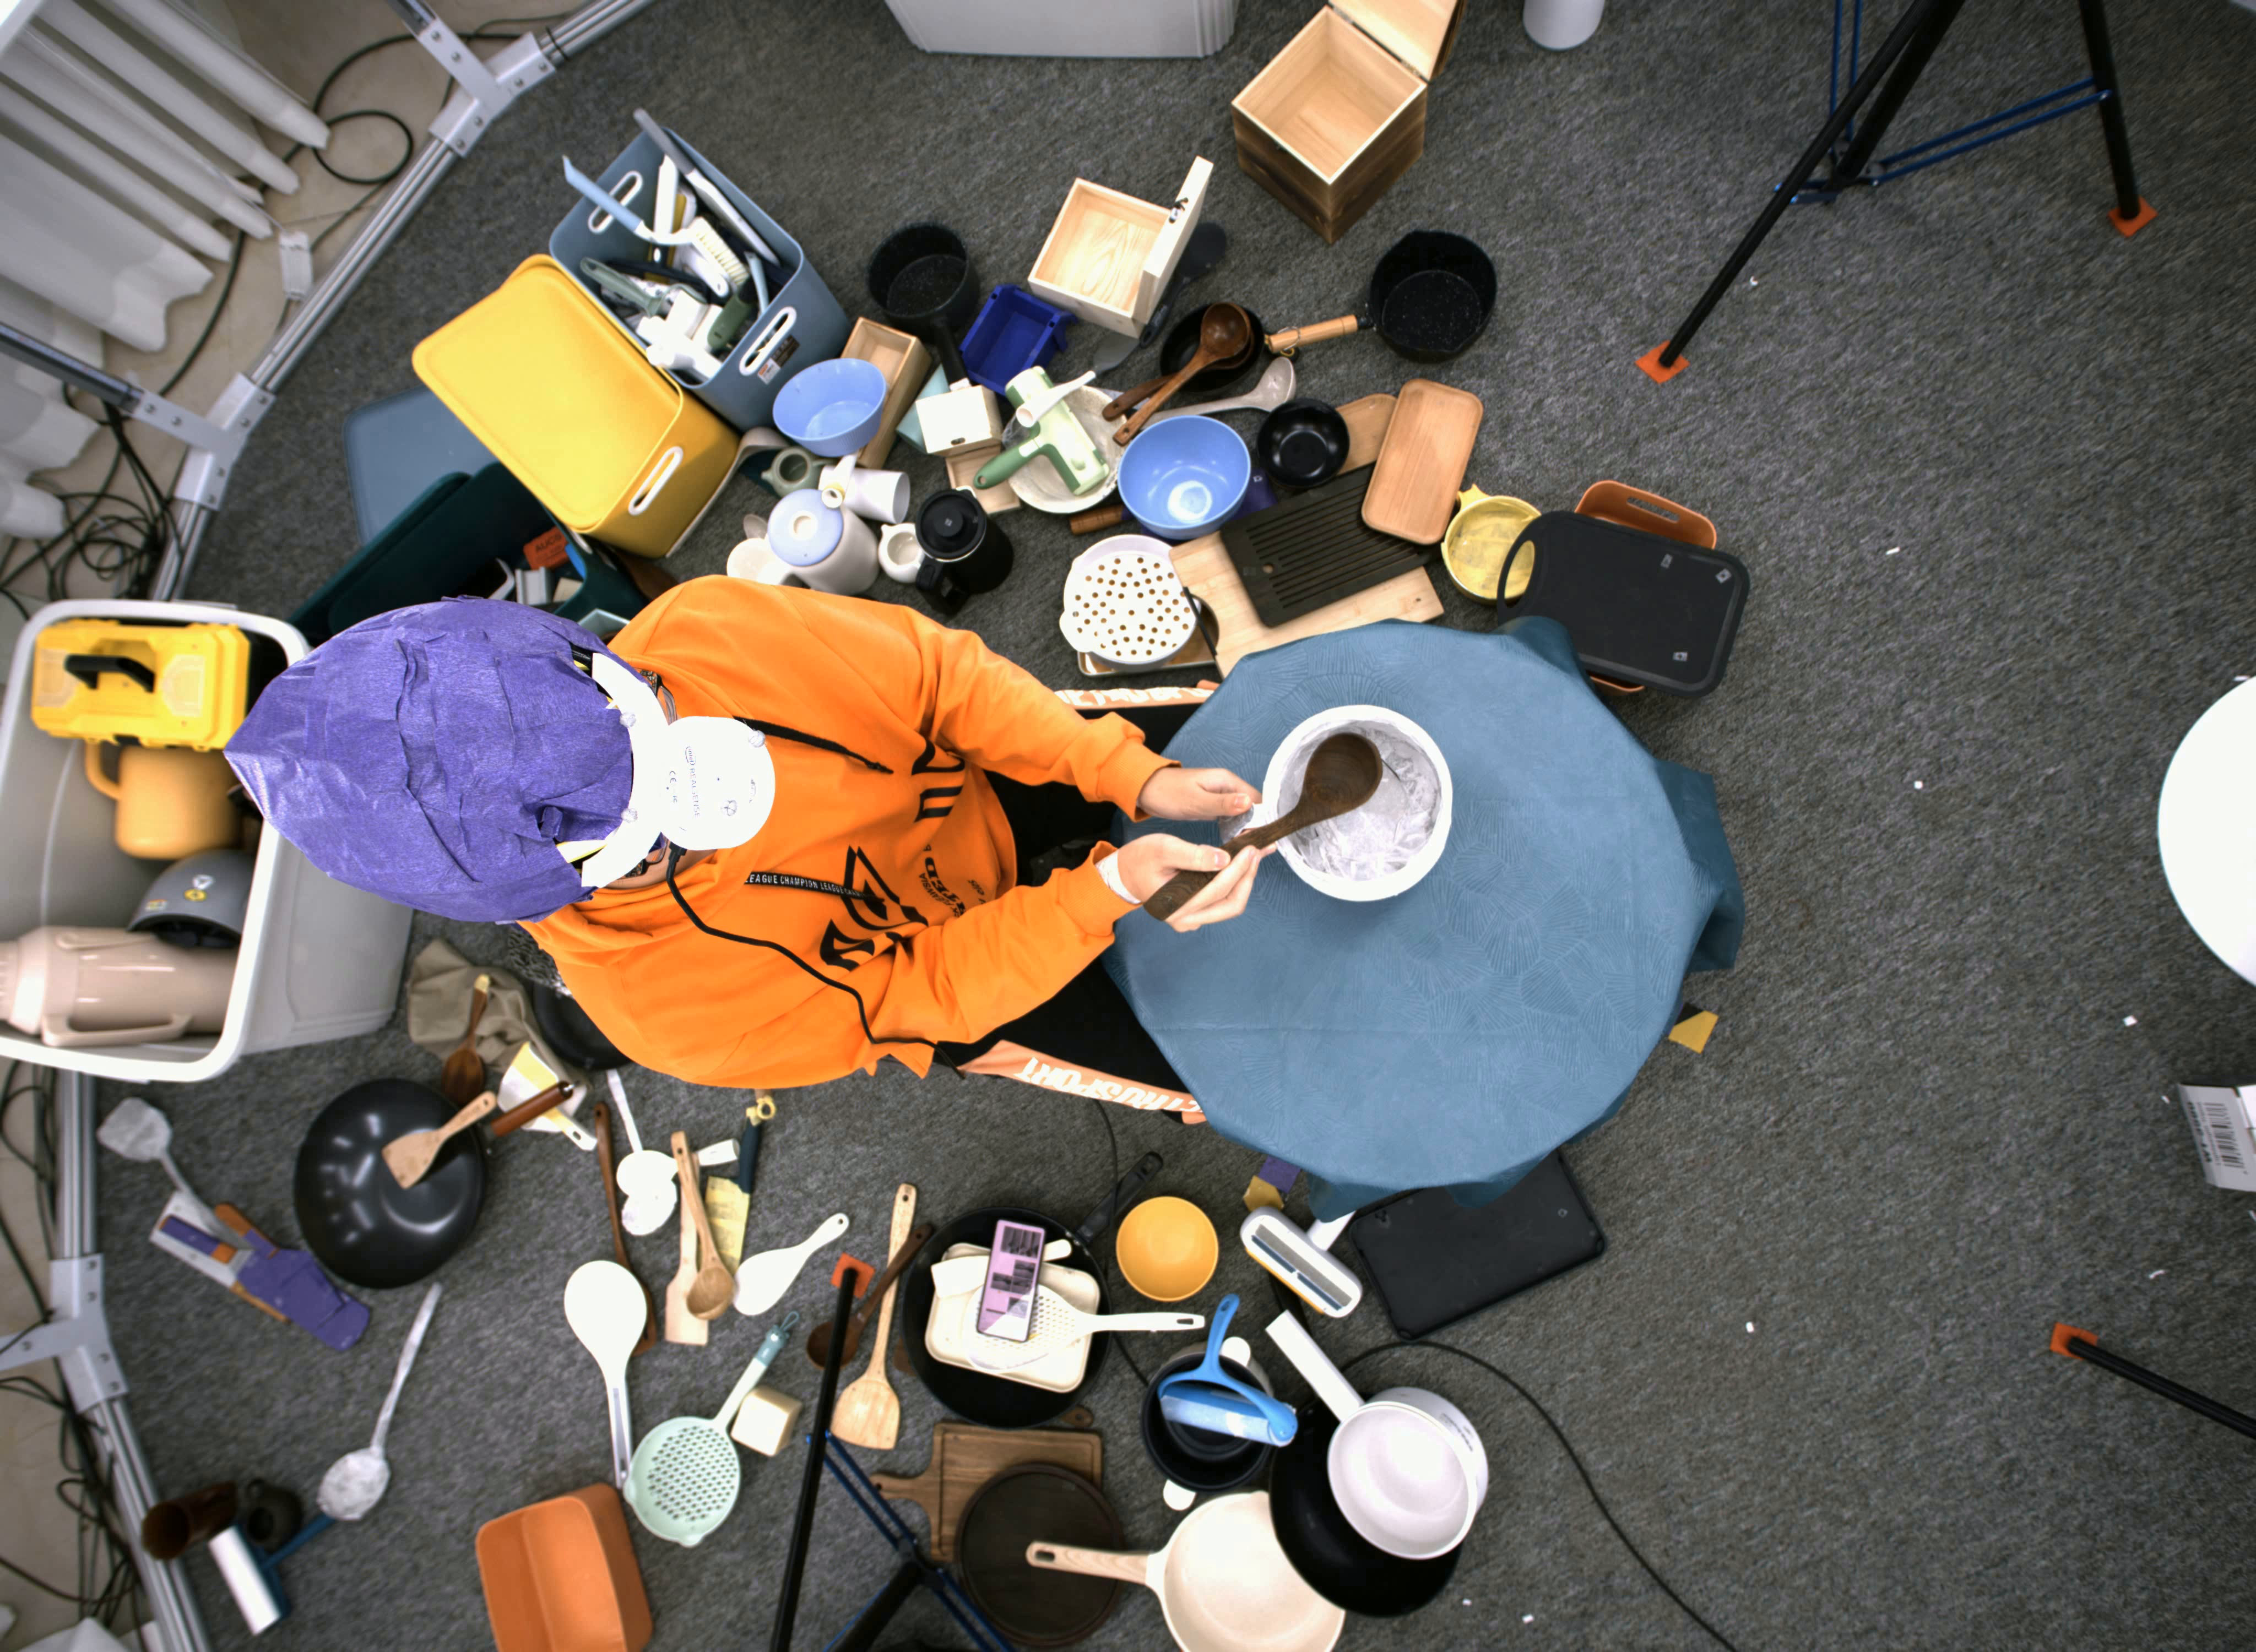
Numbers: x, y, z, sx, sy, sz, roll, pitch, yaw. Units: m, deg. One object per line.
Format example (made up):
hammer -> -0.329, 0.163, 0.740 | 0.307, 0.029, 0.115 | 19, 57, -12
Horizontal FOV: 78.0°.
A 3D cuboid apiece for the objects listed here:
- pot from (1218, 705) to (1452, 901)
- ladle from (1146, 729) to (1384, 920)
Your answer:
pot -> 0.200, -0.015, 1.356 | 0.235, 0.137, 0.177 | -9, 81, 12
ladle -> 0.122, -0.007, 1.237 | 0.270, 0.073, 0.075 | -29, 47, -30
